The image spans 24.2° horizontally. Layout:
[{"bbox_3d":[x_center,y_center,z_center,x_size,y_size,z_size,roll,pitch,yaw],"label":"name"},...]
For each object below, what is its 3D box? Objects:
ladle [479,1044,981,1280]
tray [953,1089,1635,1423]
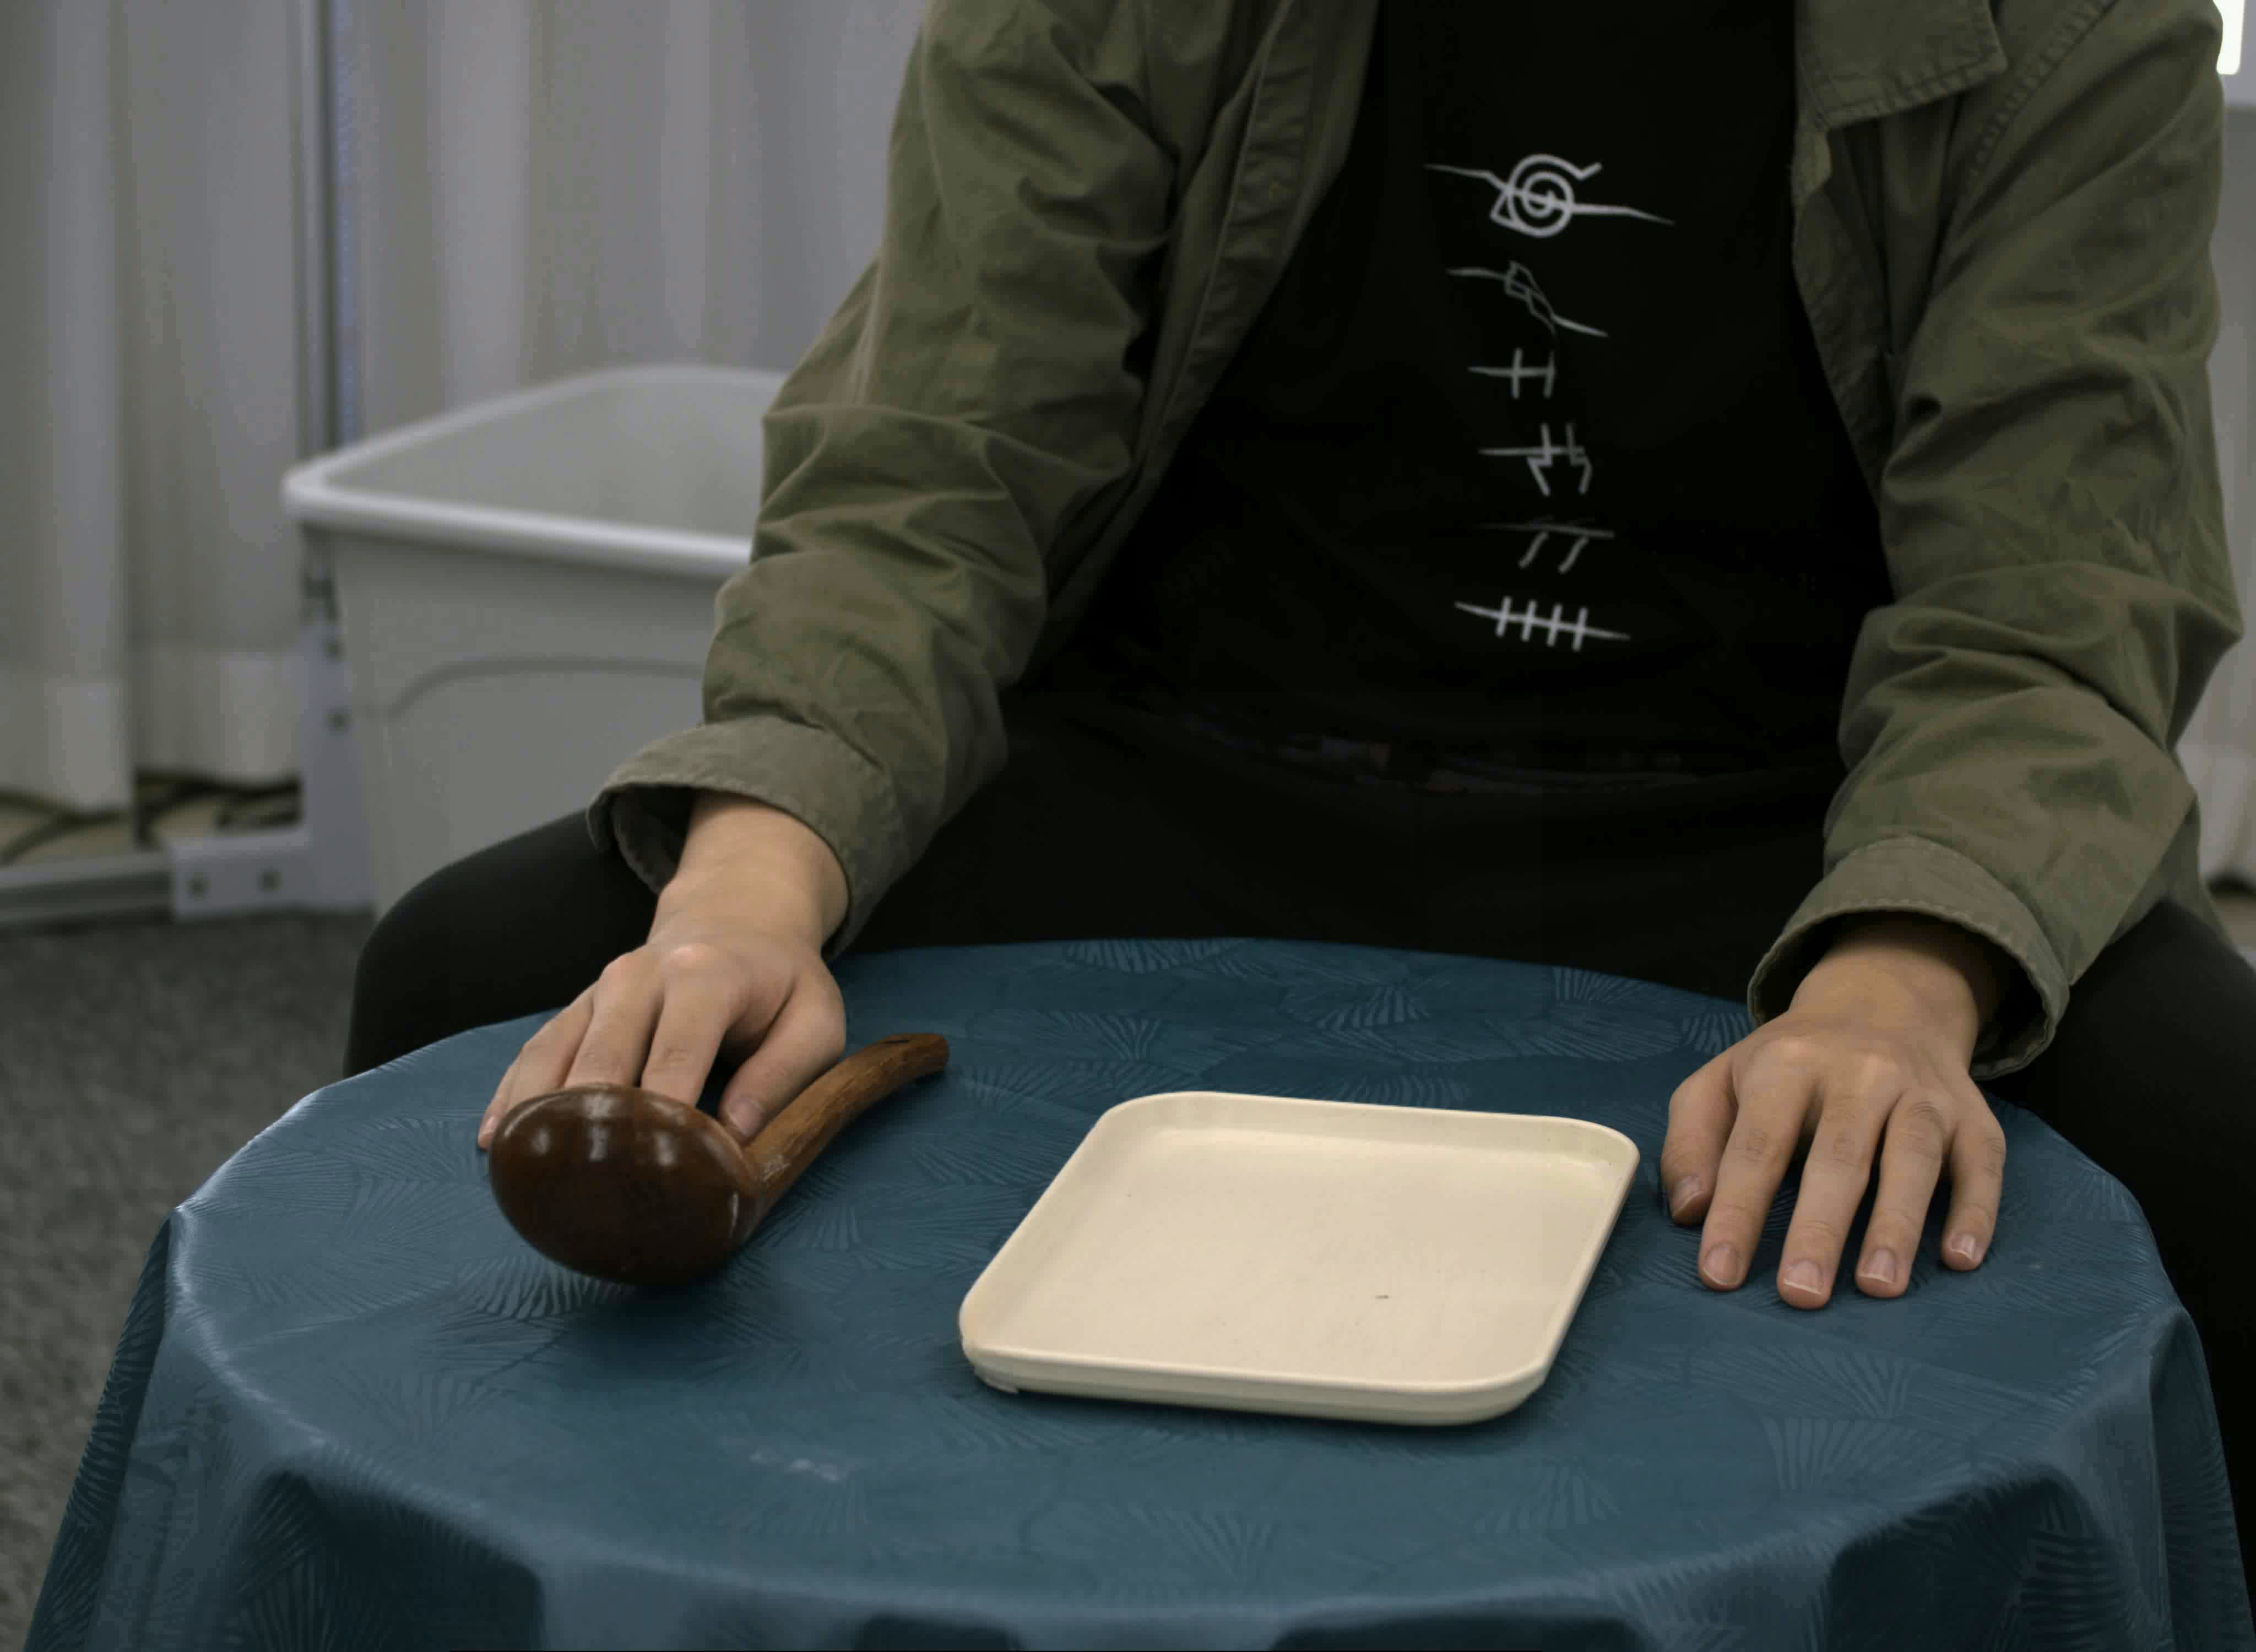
[{"bbox_3d":[-0.111,0.077,1.612,0.081,0.077,0.274,1,14,20],"label":"ladle"},{"bbox_3d":[0.053,0.125,1.551,0.170,0.017,0.239,4,16,12],"label":"tray"}]
